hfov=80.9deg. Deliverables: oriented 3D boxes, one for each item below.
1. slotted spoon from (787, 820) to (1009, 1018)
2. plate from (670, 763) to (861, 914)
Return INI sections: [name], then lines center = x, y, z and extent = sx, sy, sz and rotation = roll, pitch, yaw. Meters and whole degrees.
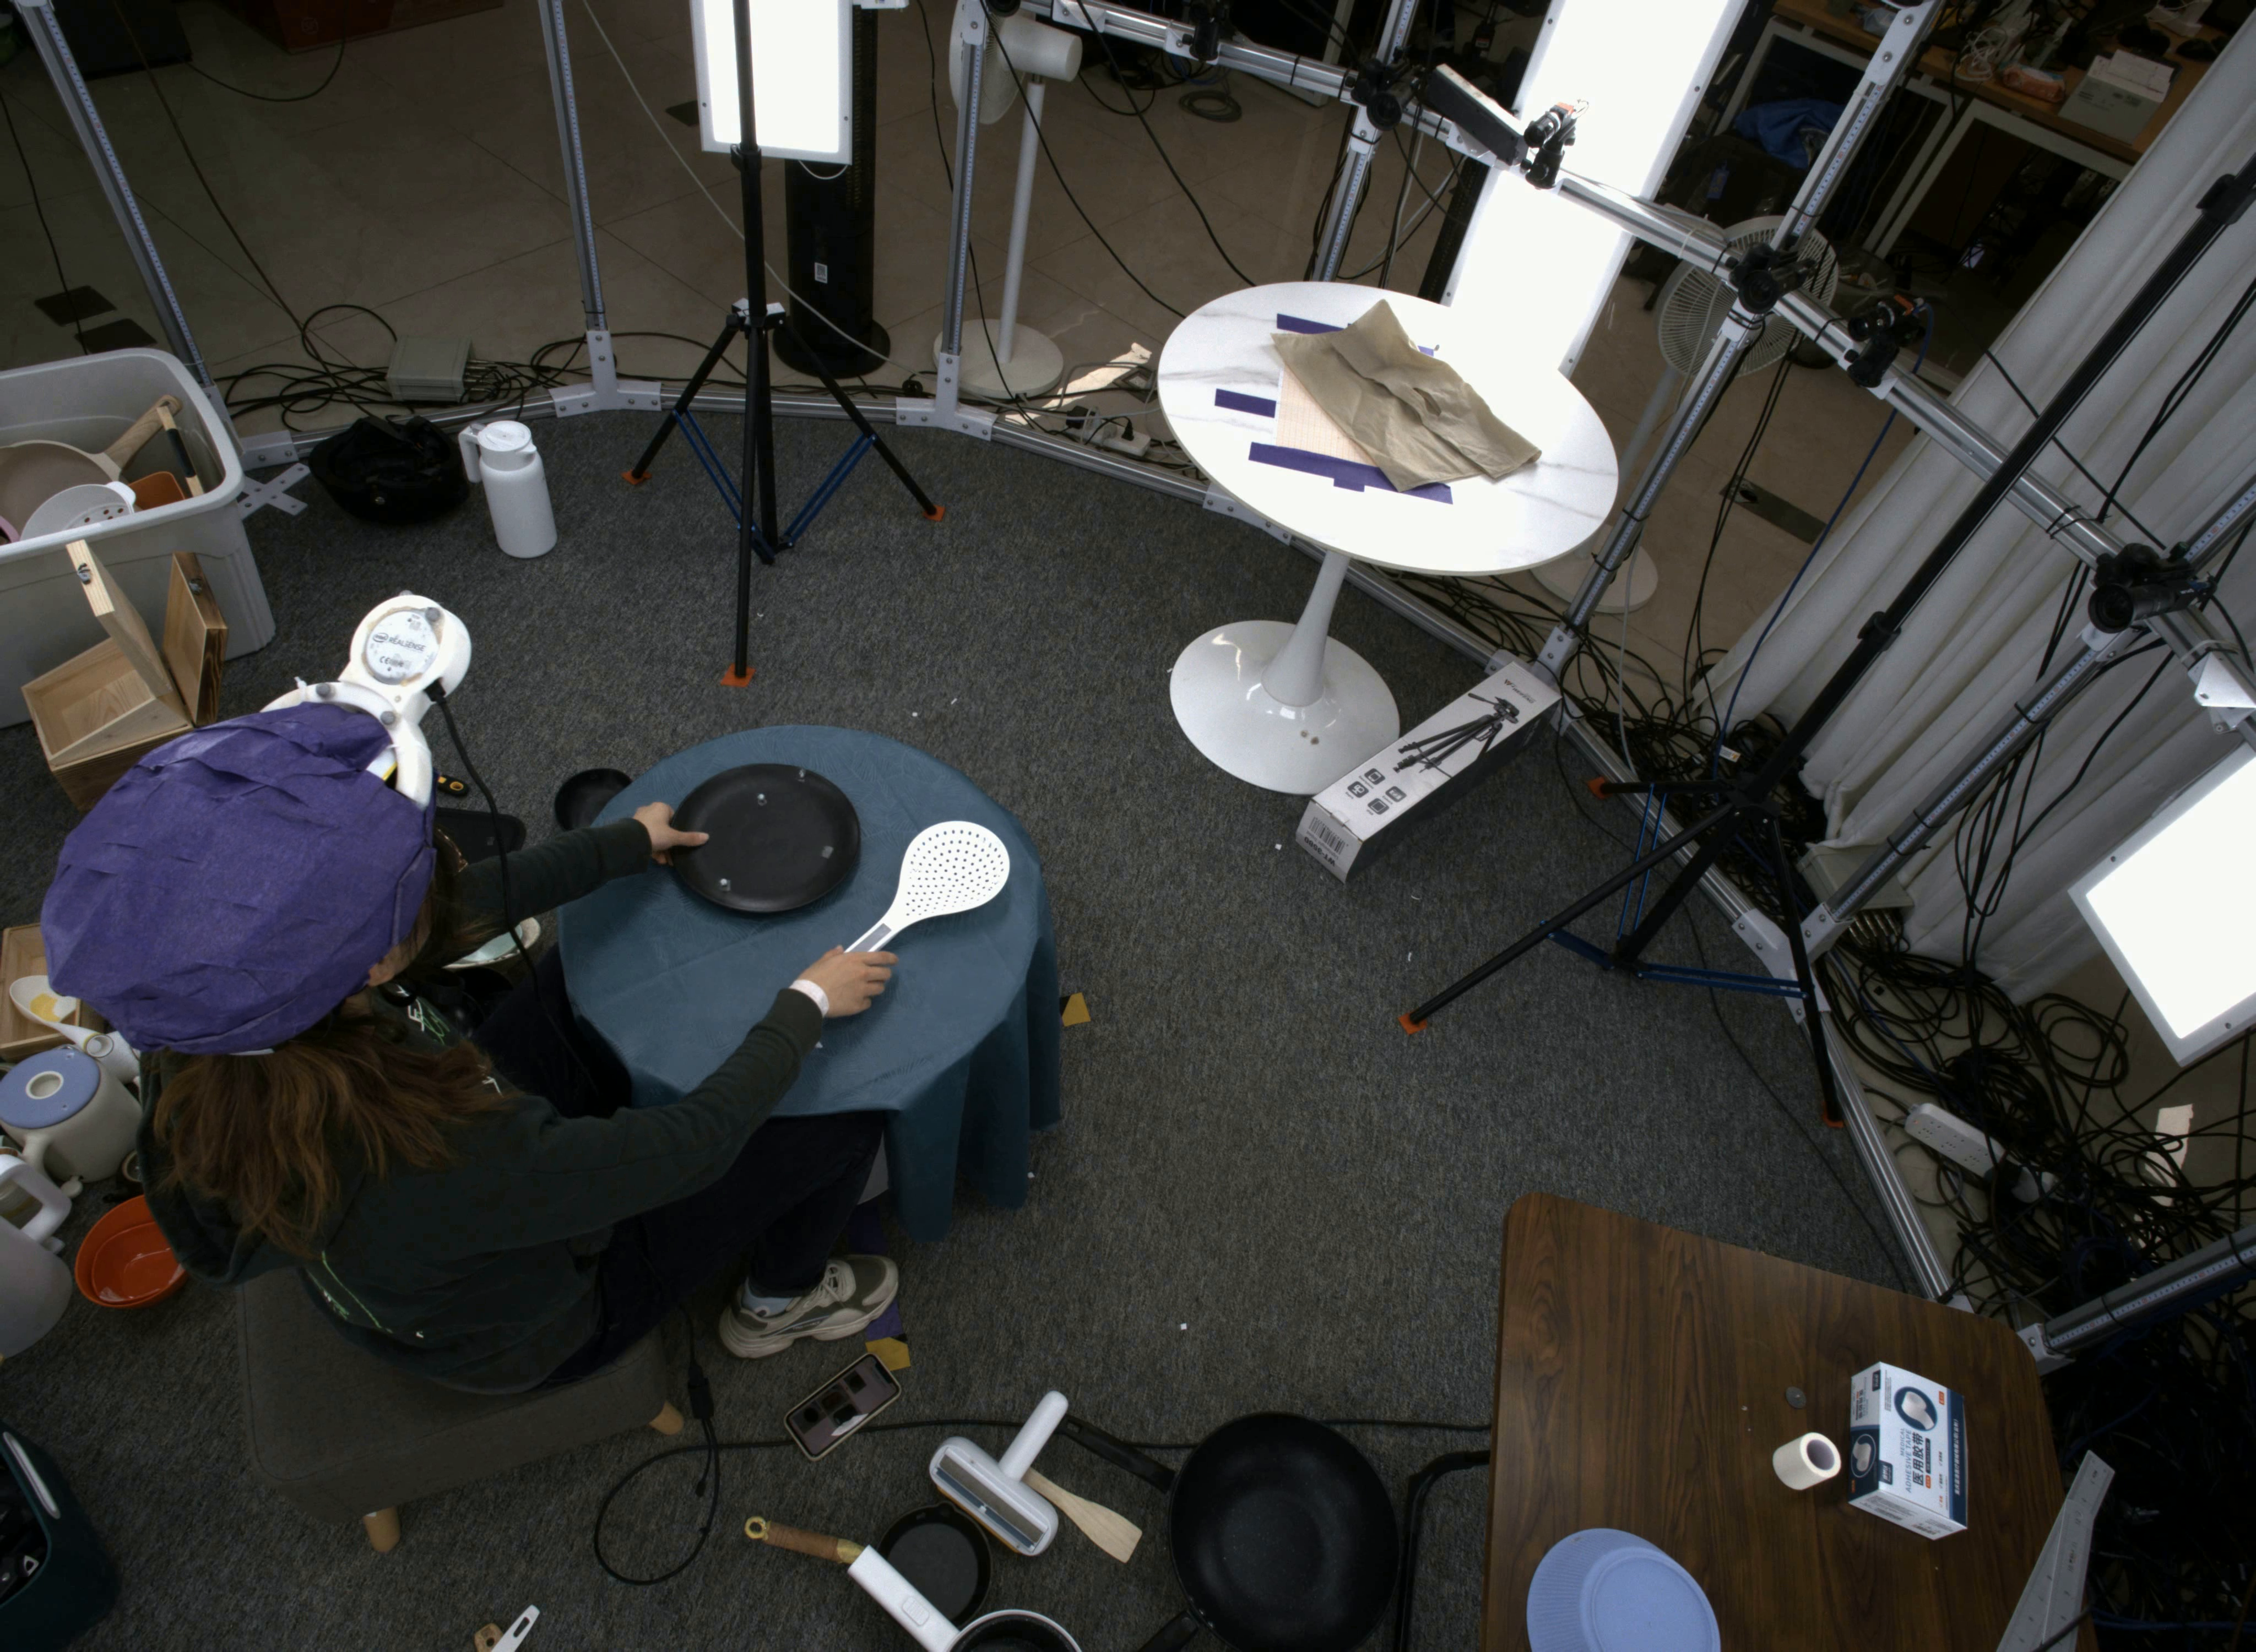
[slotted spoon]
center = -0.292, 0.117, 1.647
extent = 0.133, 0.047, 0.350
rotation = 37, 55, 16
[plate]
center = -0.471, 0.016, 1.690
extent = 0.244, 0.024, 0.240
rotation = 8, 53, -9
